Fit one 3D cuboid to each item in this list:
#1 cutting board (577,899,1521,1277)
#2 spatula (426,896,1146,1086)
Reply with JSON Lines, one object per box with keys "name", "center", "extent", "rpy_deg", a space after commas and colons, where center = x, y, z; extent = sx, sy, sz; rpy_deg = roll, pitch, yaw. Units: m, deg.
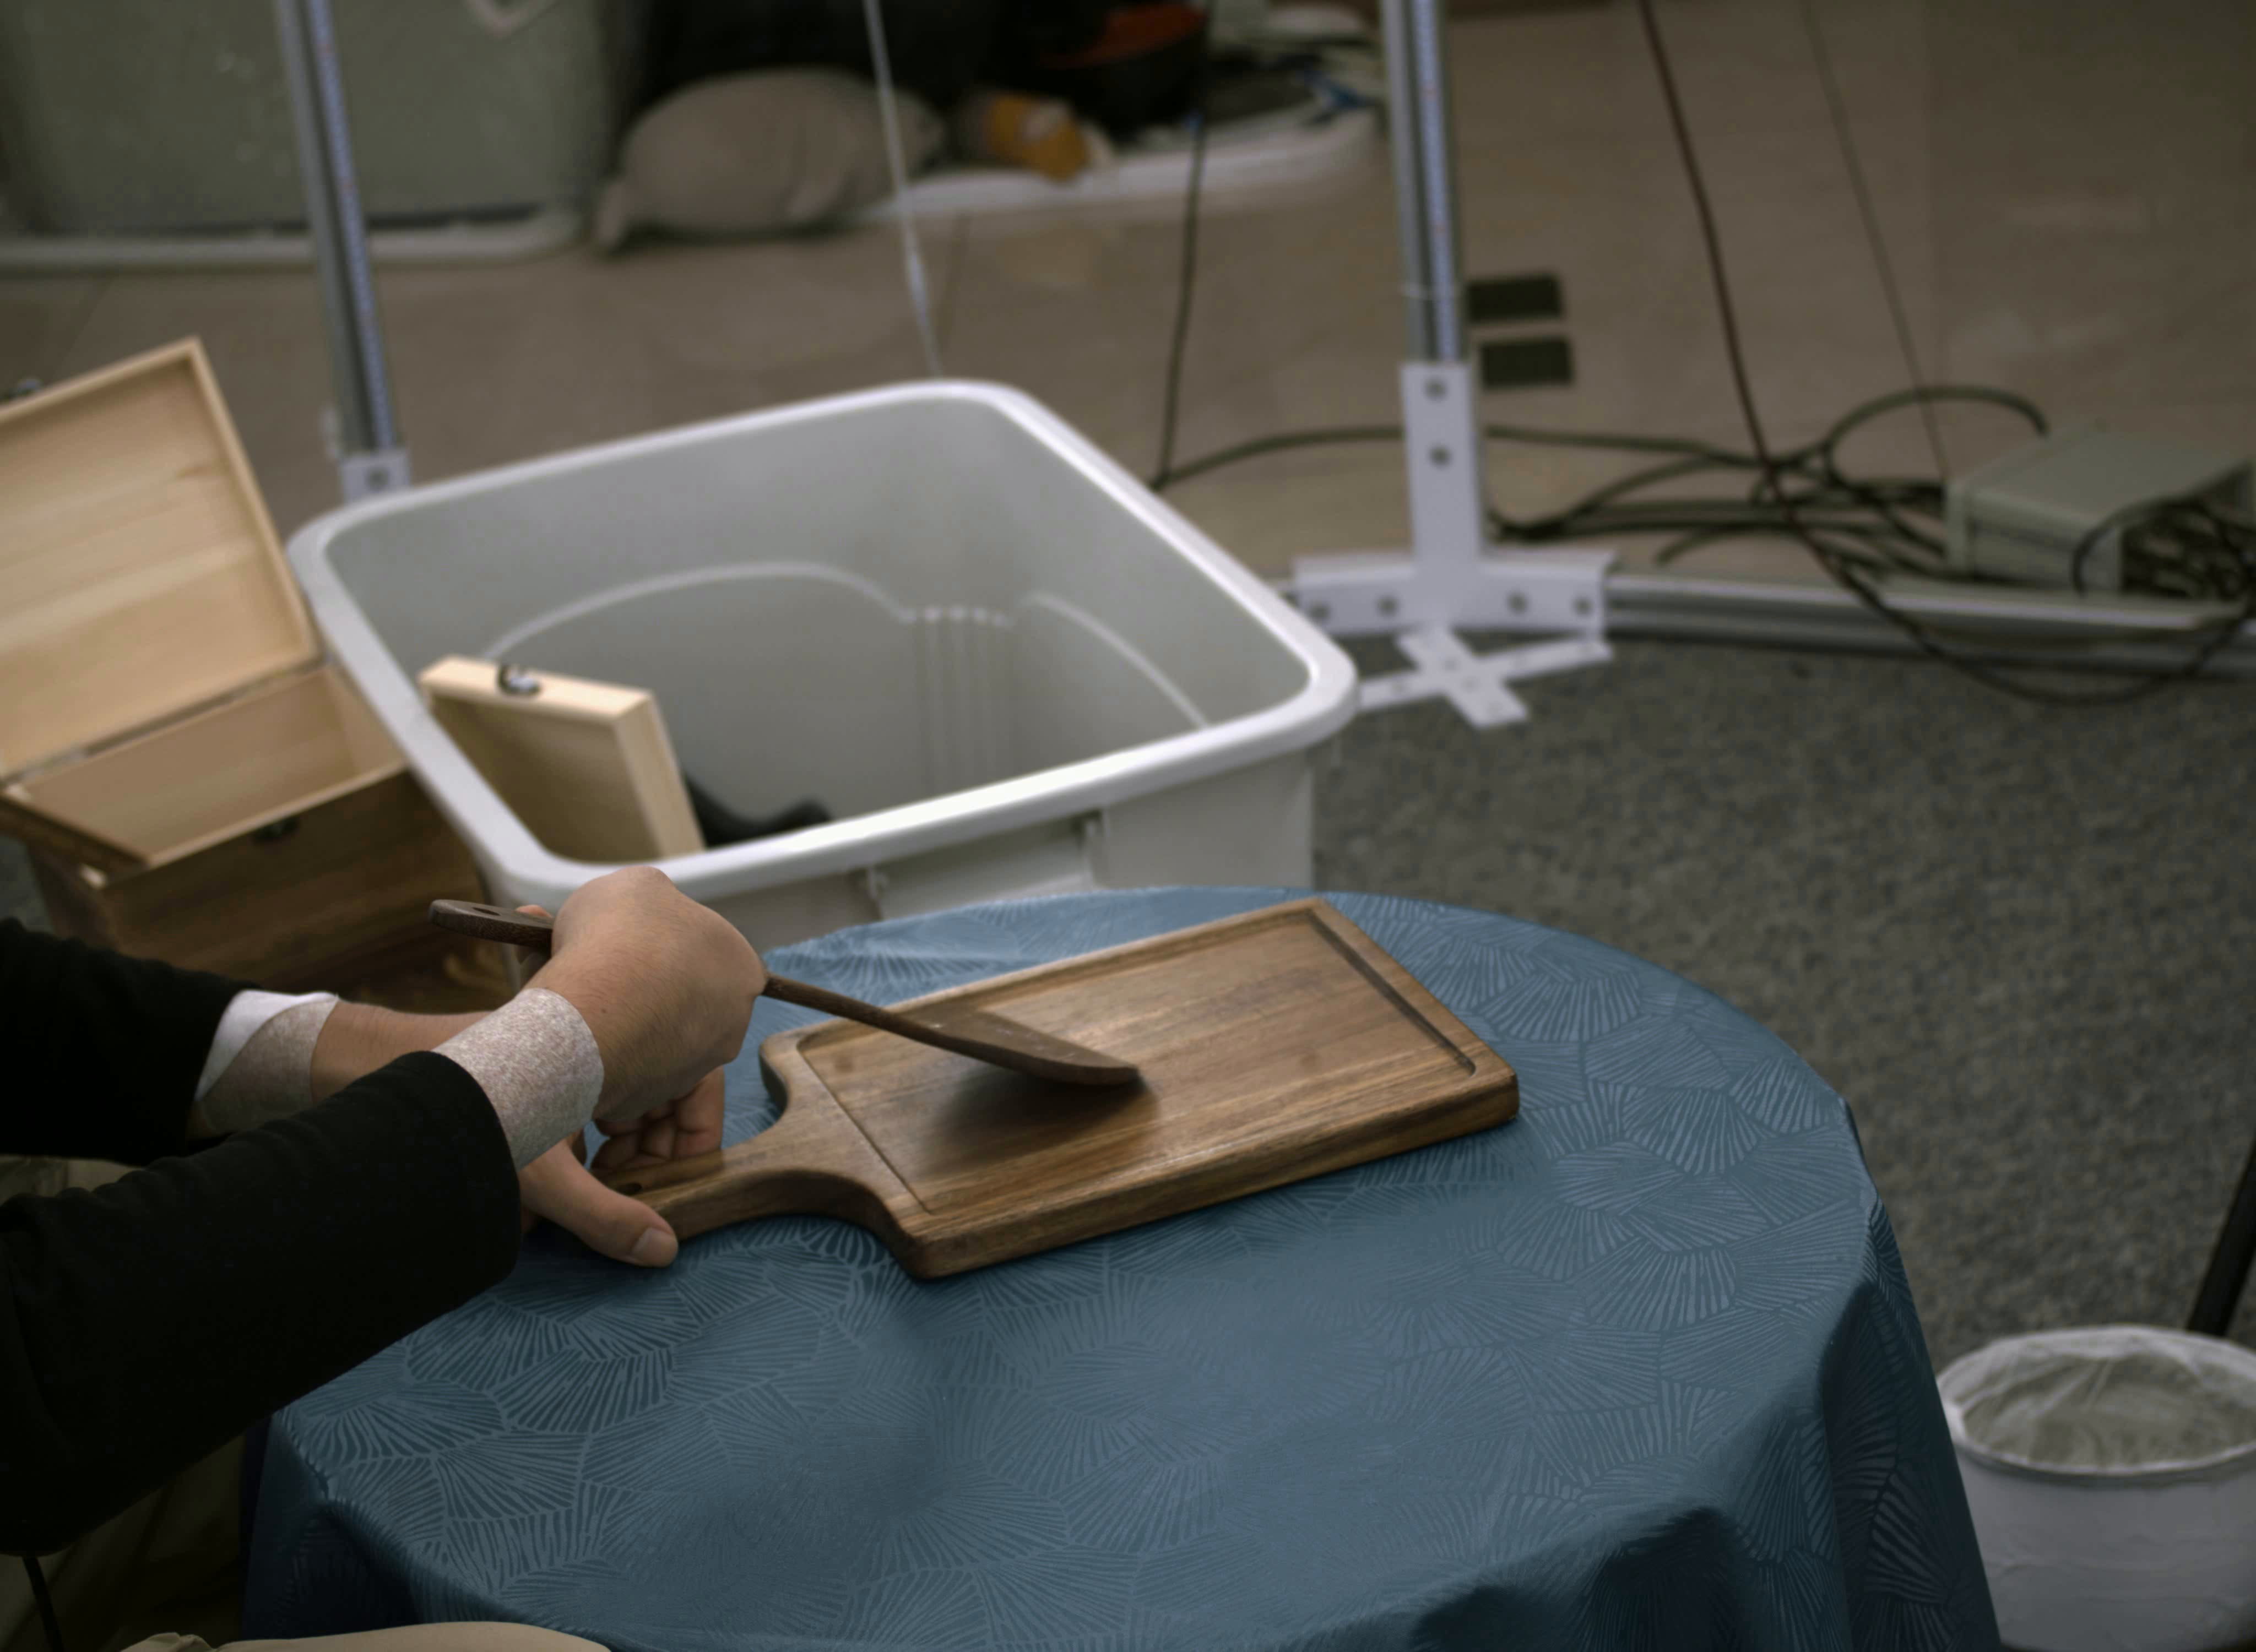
{"name": "cutting board", "center": [-0.045, 0.109, 2.194], "extent": [0.351, 0.023, 0.198], "rpy_deg": [-14, 26, -17]}
{"name": "spatula", "center": [-0.126, 0.060, 2.060], "extent": [0.095, 0.016, 0.388], "rpy_deg": [17, 0, 34]}
